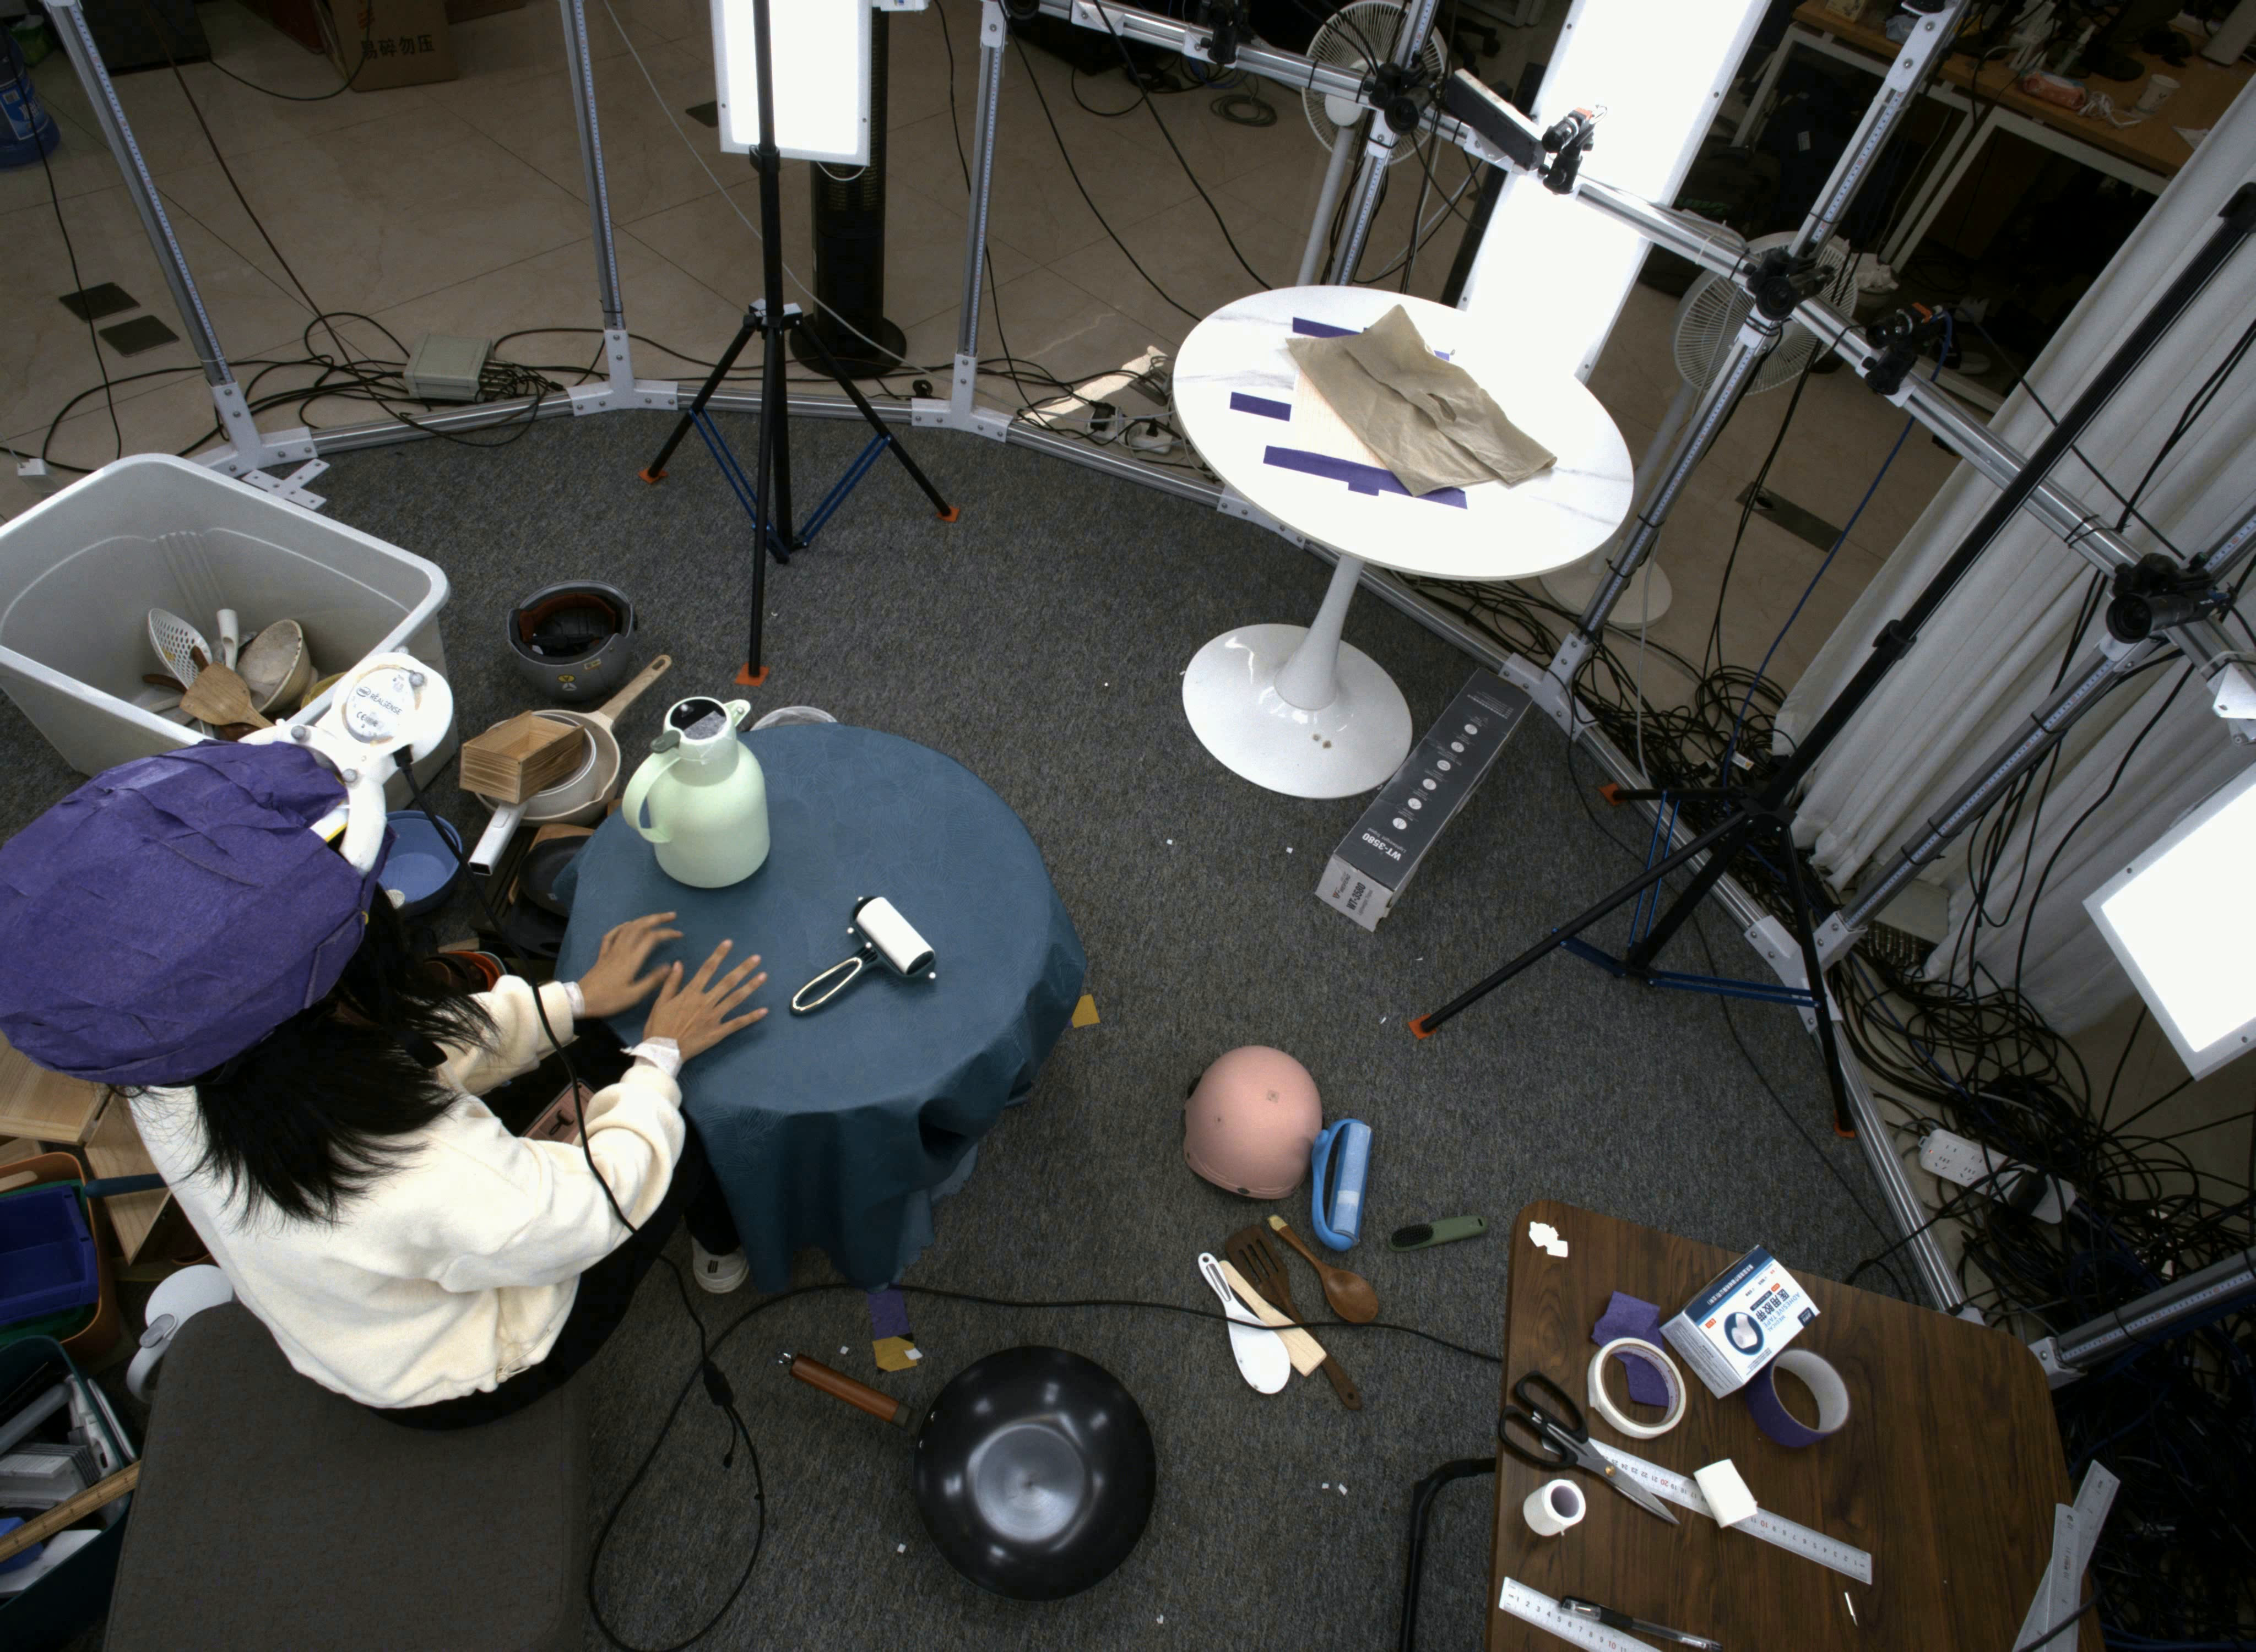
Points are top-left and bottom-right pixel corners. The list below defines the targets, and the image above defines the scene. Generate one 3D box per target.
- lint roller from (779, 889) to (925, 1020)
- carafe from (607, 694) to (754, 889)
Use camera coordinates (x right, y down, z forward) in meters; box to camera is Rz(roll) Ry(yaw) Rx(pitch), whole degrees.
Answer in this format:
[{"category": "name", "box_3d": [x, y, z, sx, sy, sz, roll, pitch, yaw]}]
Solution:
[{"category": "lint roller", "box_3d": [-0.350, 0.168, 1.581, 0.131, 0.049, 0.180, 42, 55, 19]}, {"category": "carafe", "box_3d": [-0.543, -0.040, 1.556, 0.141, 0.262, 0.187, 36, 57, 14]}]
